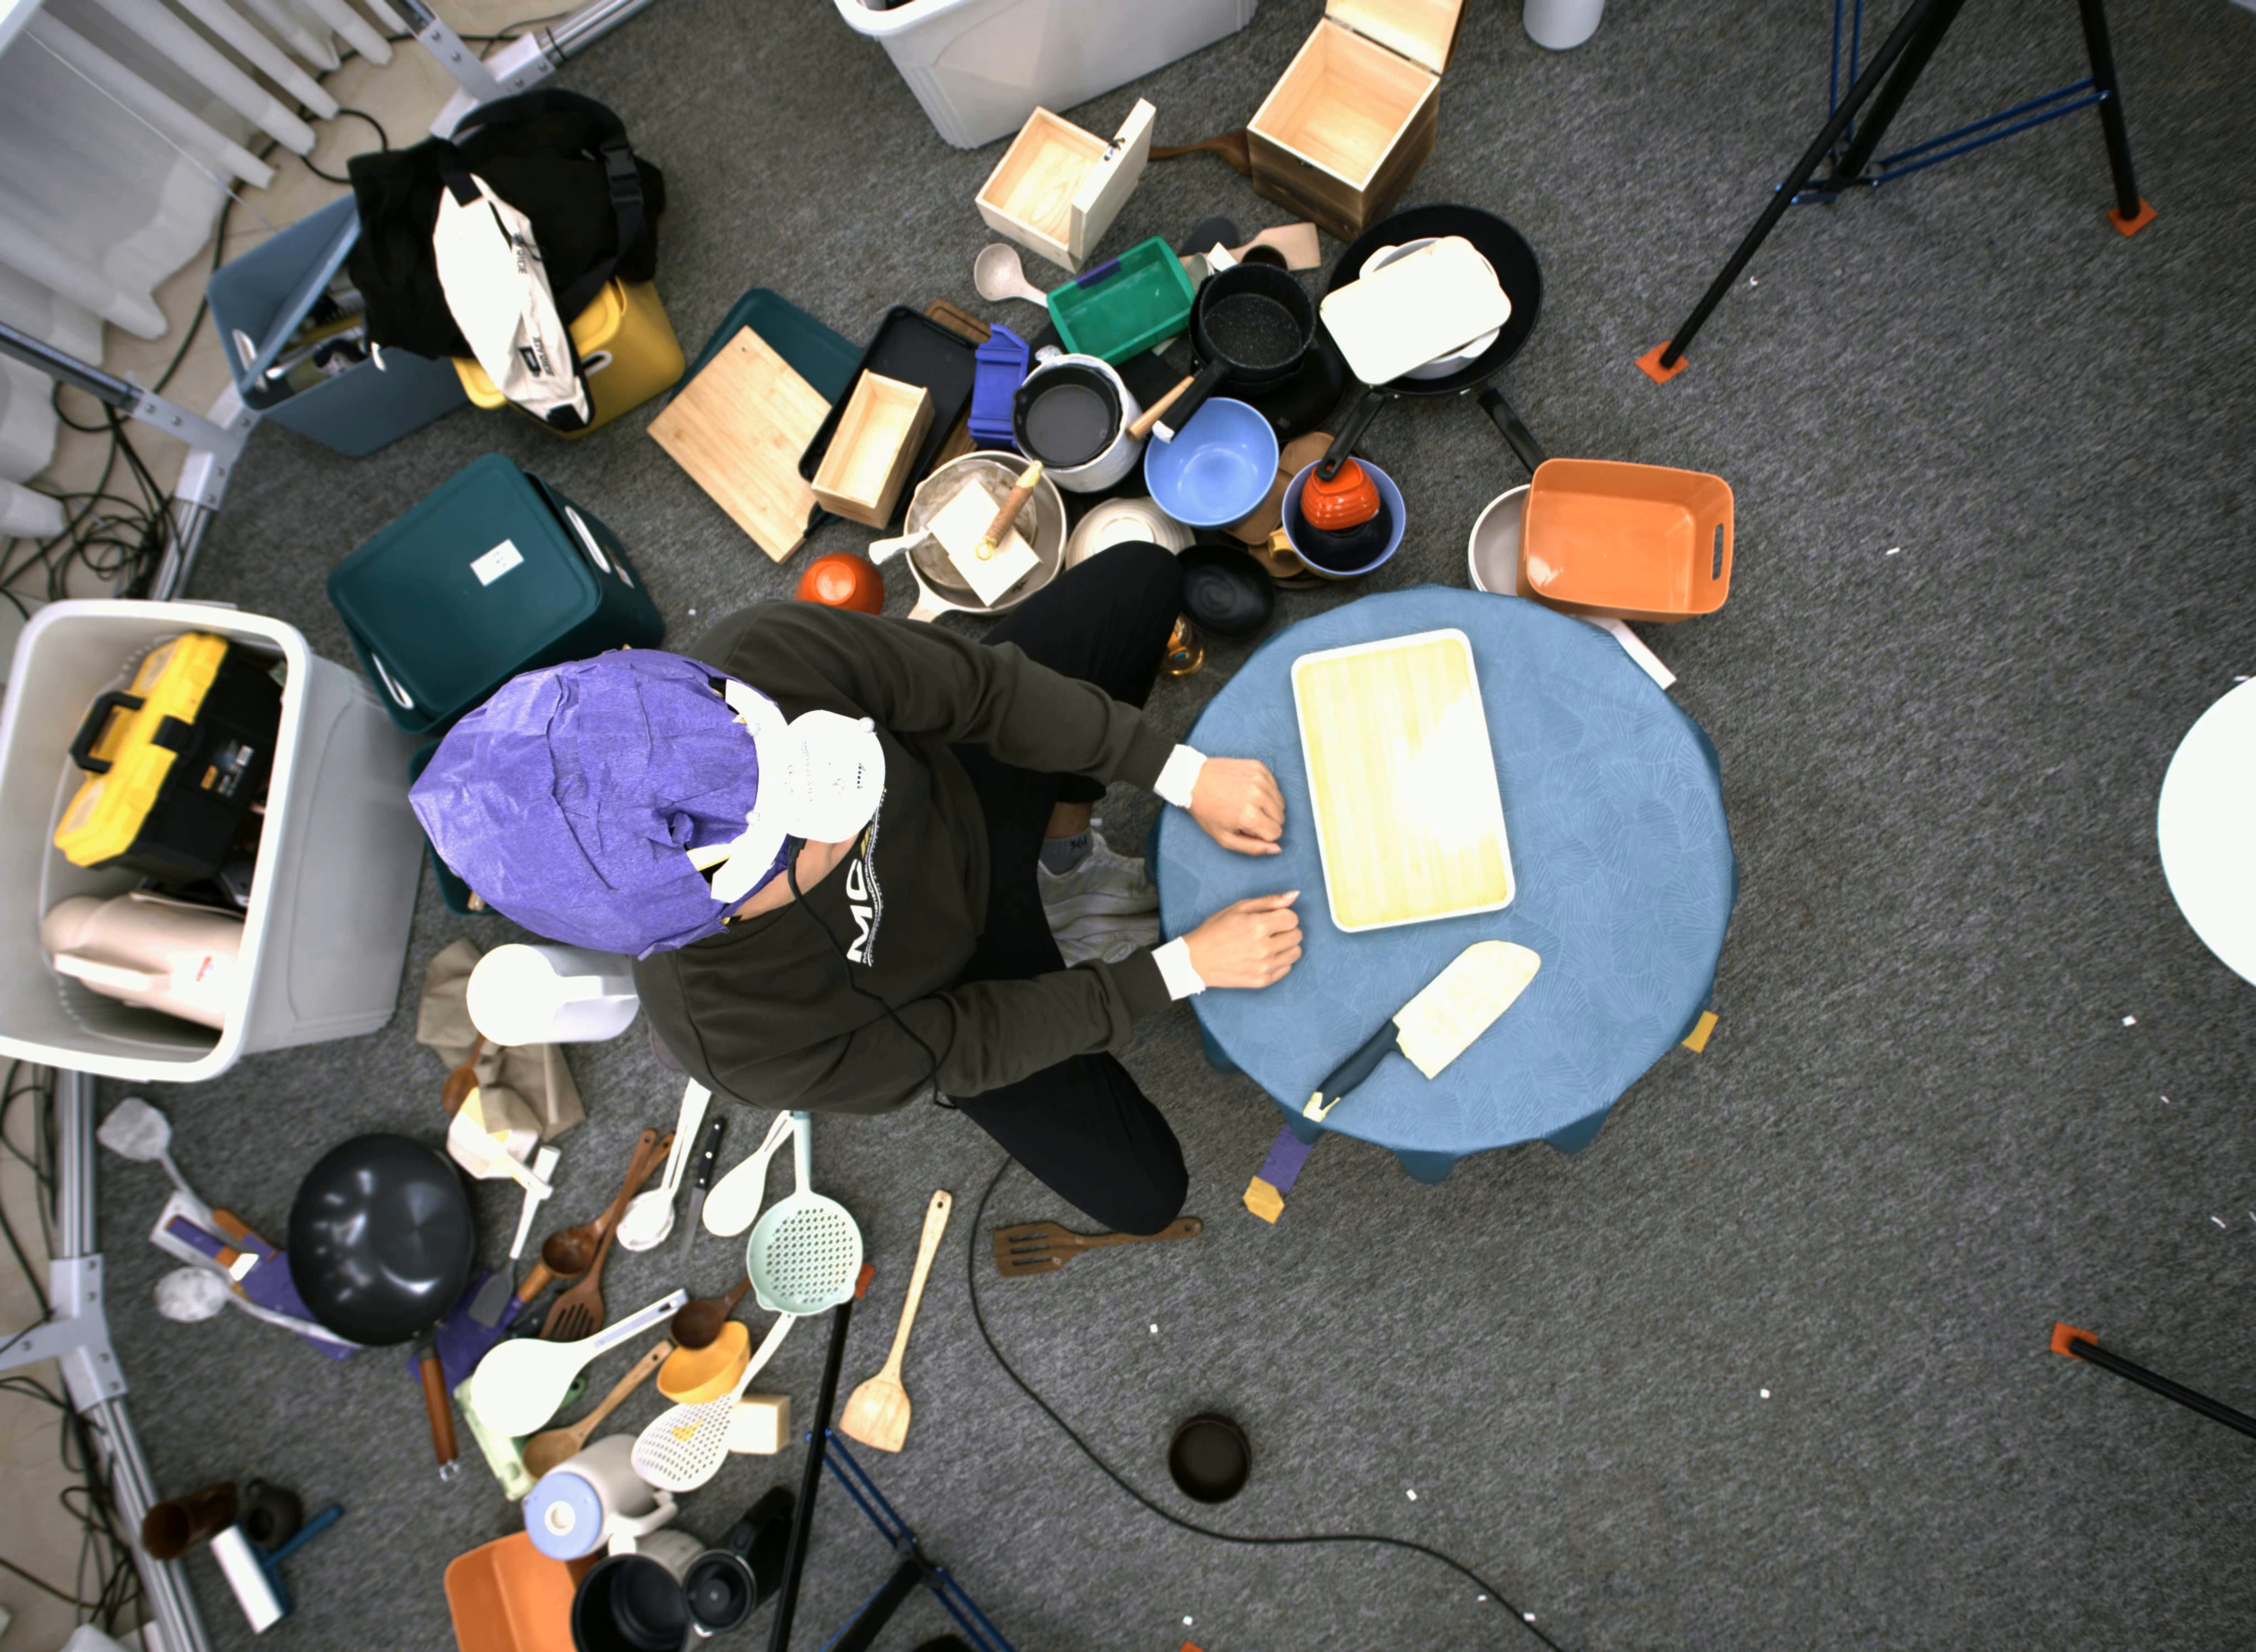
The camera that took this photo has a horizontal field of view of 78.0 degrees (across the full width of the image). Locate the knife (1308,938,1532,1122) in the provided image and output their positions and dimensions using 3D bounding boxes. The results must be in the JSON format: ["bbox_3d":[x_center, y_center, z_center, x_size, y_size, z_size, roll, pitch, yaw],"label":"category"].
[{"bbox_3d":[0.306,0.217,1.438,0.291,0.027,0.080,-41,78,5],"label":"knife"}]

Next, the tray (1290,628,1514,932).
[{"bbox_3d":[0.286,-0.049,1.450,0.192,0.027,0.298,-9,85,11],"label":"tray"}]
